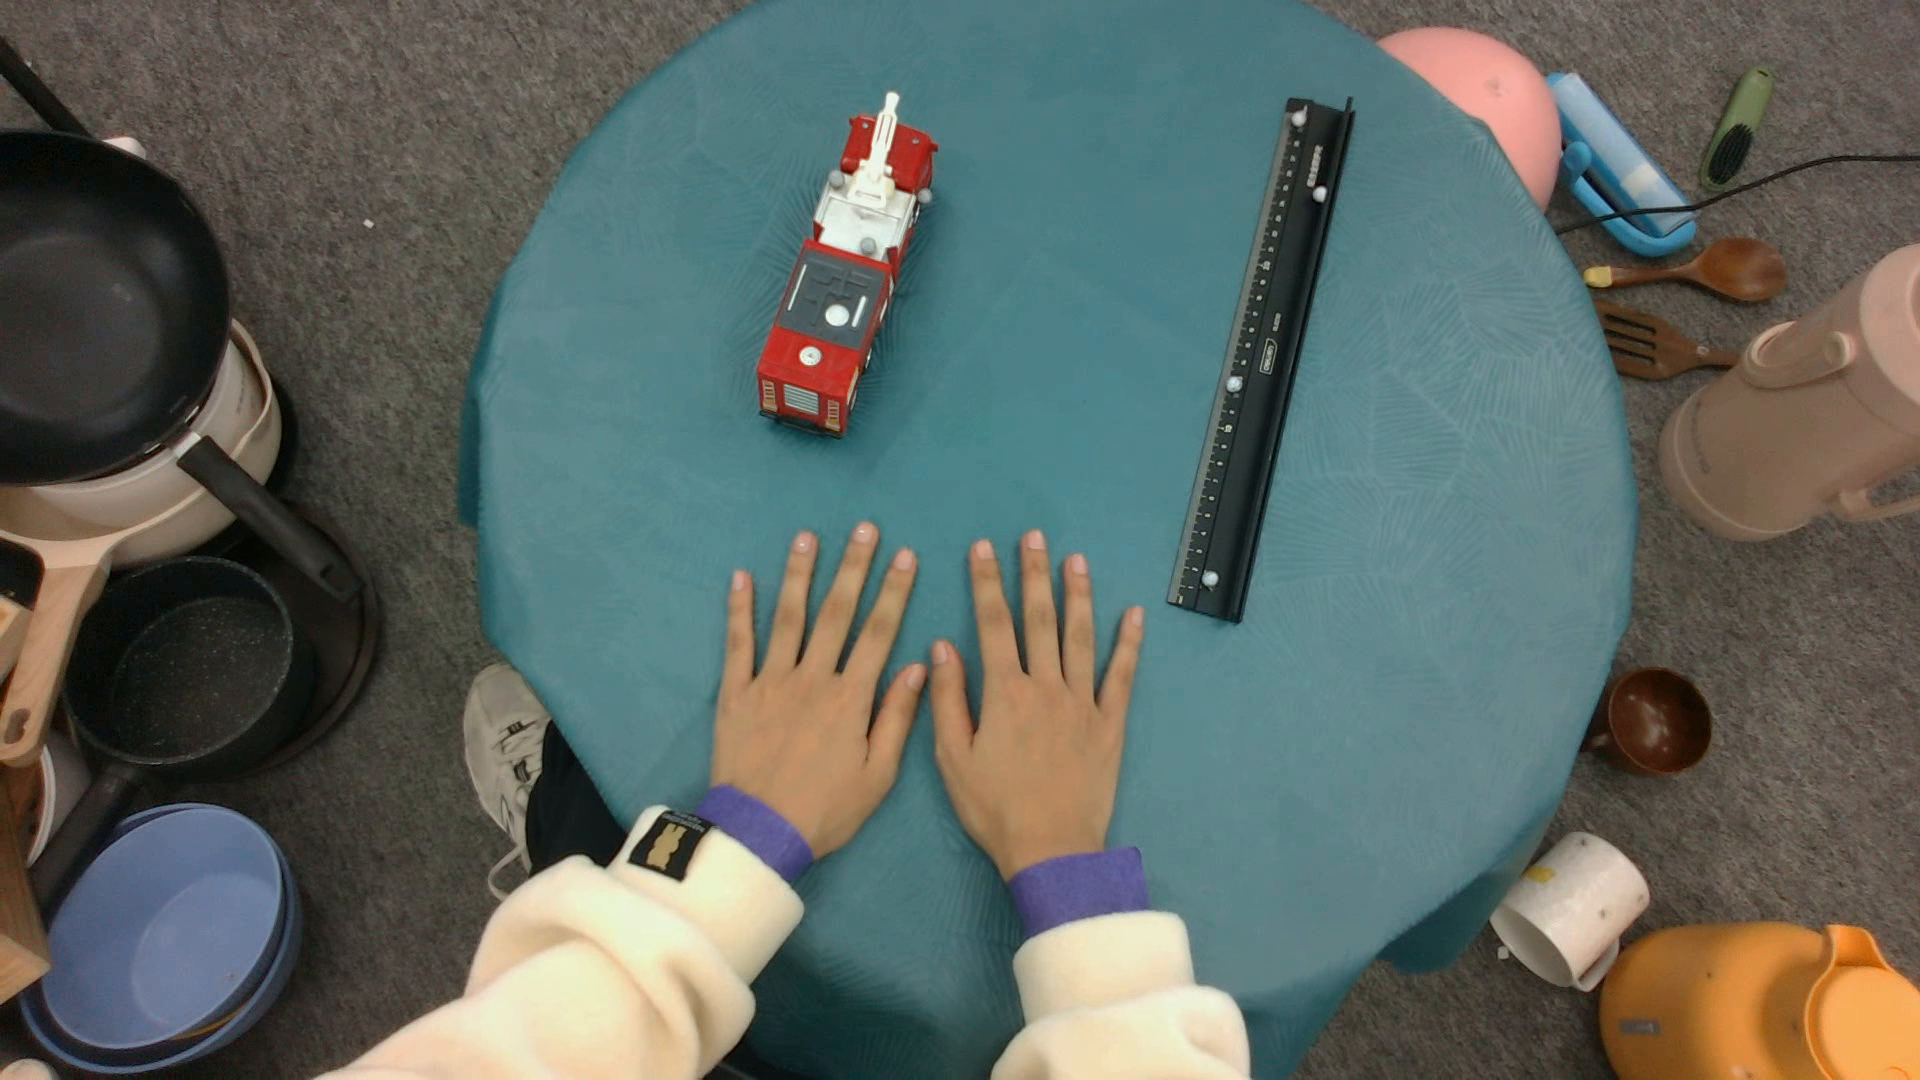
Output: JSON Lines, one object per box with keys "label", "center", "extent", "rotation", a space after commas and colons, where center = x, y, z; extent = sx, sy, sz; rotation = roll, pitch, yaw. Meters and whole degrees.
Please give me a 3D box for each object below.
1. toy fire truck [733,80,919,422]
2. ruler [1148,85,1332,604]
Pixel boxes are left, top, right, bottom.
{"label": "toy fire truck", "center": [-0.067, -0.145, 0.695], "extent": [0.054, 0.070, 0.168], "rotation": [17, 72, 0]}
{"label": "ruler", "center": [0.153, -0.117, 0.731], "extent": [0.039, 0.017, 0.313], "rotation": [16, 71, 3]}
